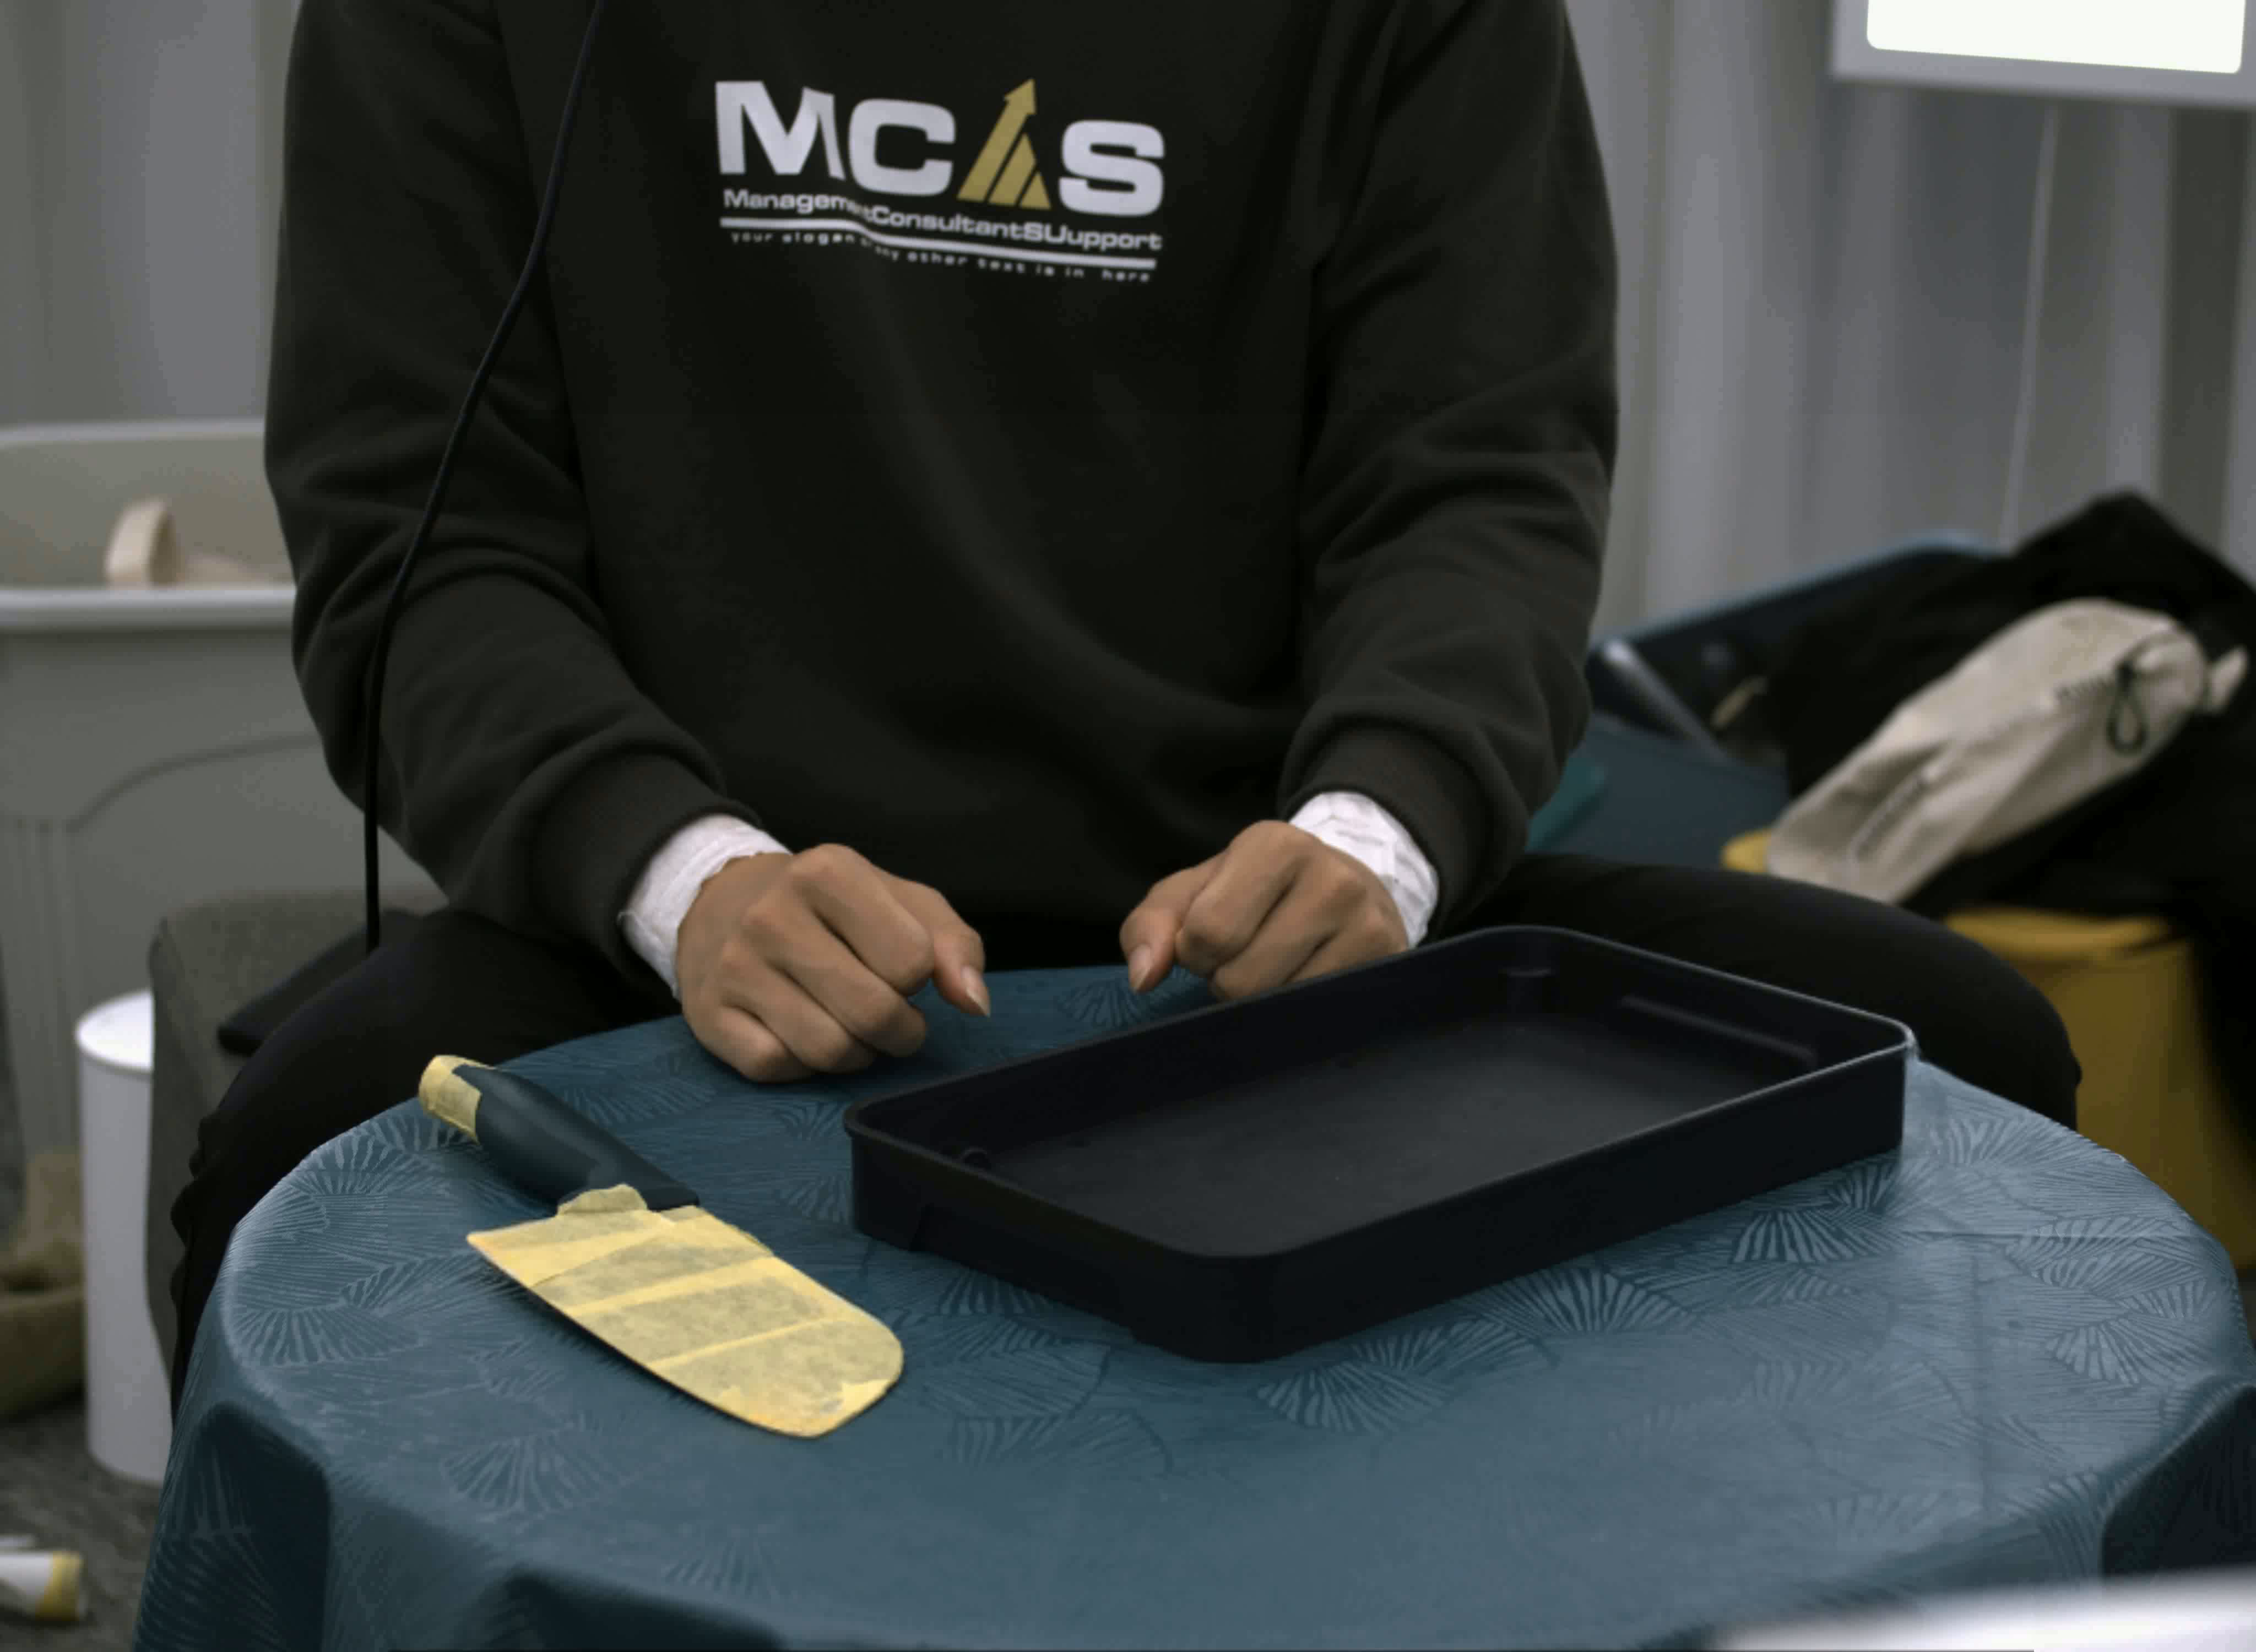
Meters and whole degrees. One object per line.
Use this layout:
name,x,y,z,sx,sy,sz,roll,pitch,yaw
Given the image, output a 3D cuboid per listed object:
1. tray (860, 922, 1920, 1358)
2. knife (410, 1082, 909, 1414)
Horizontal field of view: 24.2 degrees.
tray,0.086,0.091,1.637,0.182,0.037,0.319,14,21,43
knife,-0.151,0.124,1.548,0.081,0.027,0.285,-8,18,-32
